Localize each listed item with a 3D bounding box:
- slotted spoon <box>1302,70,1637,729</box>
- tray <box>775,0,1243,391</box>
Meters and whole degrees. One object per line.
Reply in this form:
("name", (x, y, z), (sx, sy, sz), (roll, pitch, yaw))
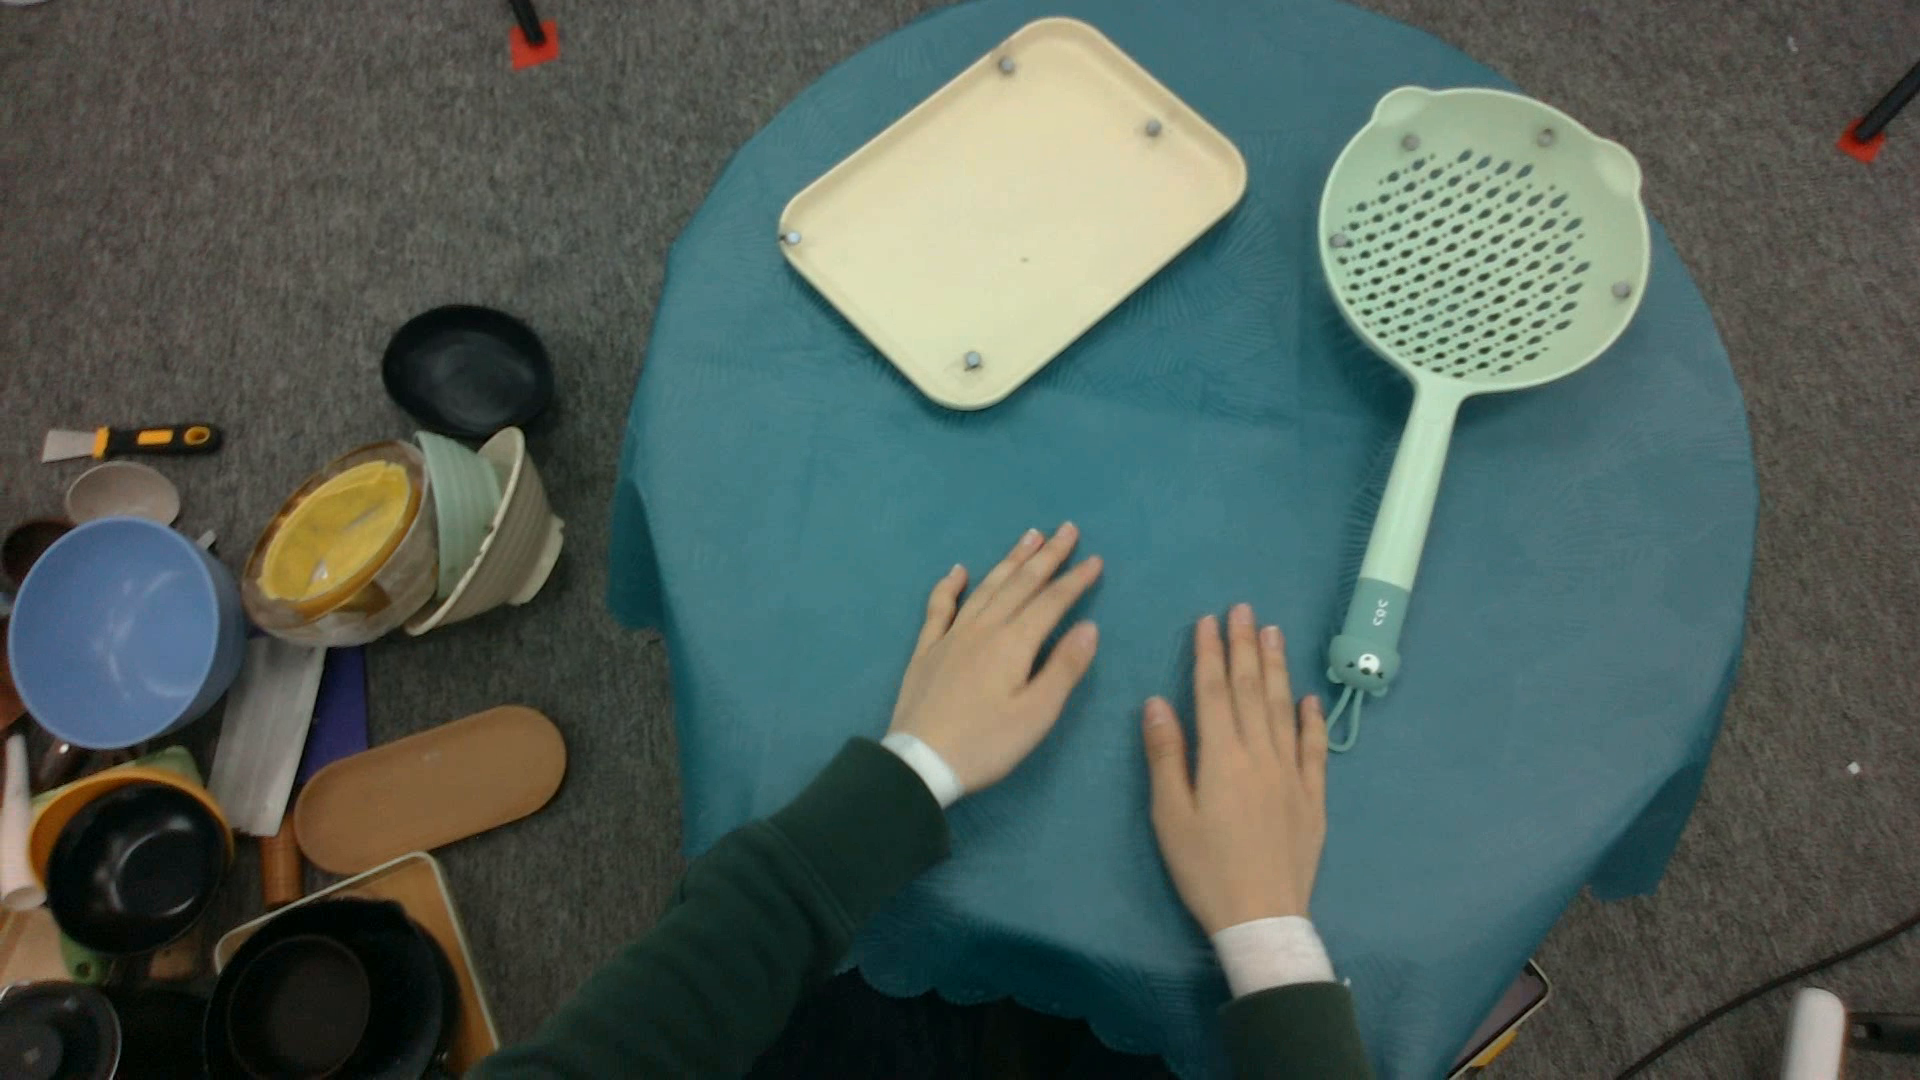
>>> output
("slotted spoon", (0.237, -0.076, 0.712), (0.169, 0.075, 0.360), (19, 70, 6))
("tray", (0.029, -0.199, 0.778), (0.240, 0.017, 0.171), (-41, 75, -15))
